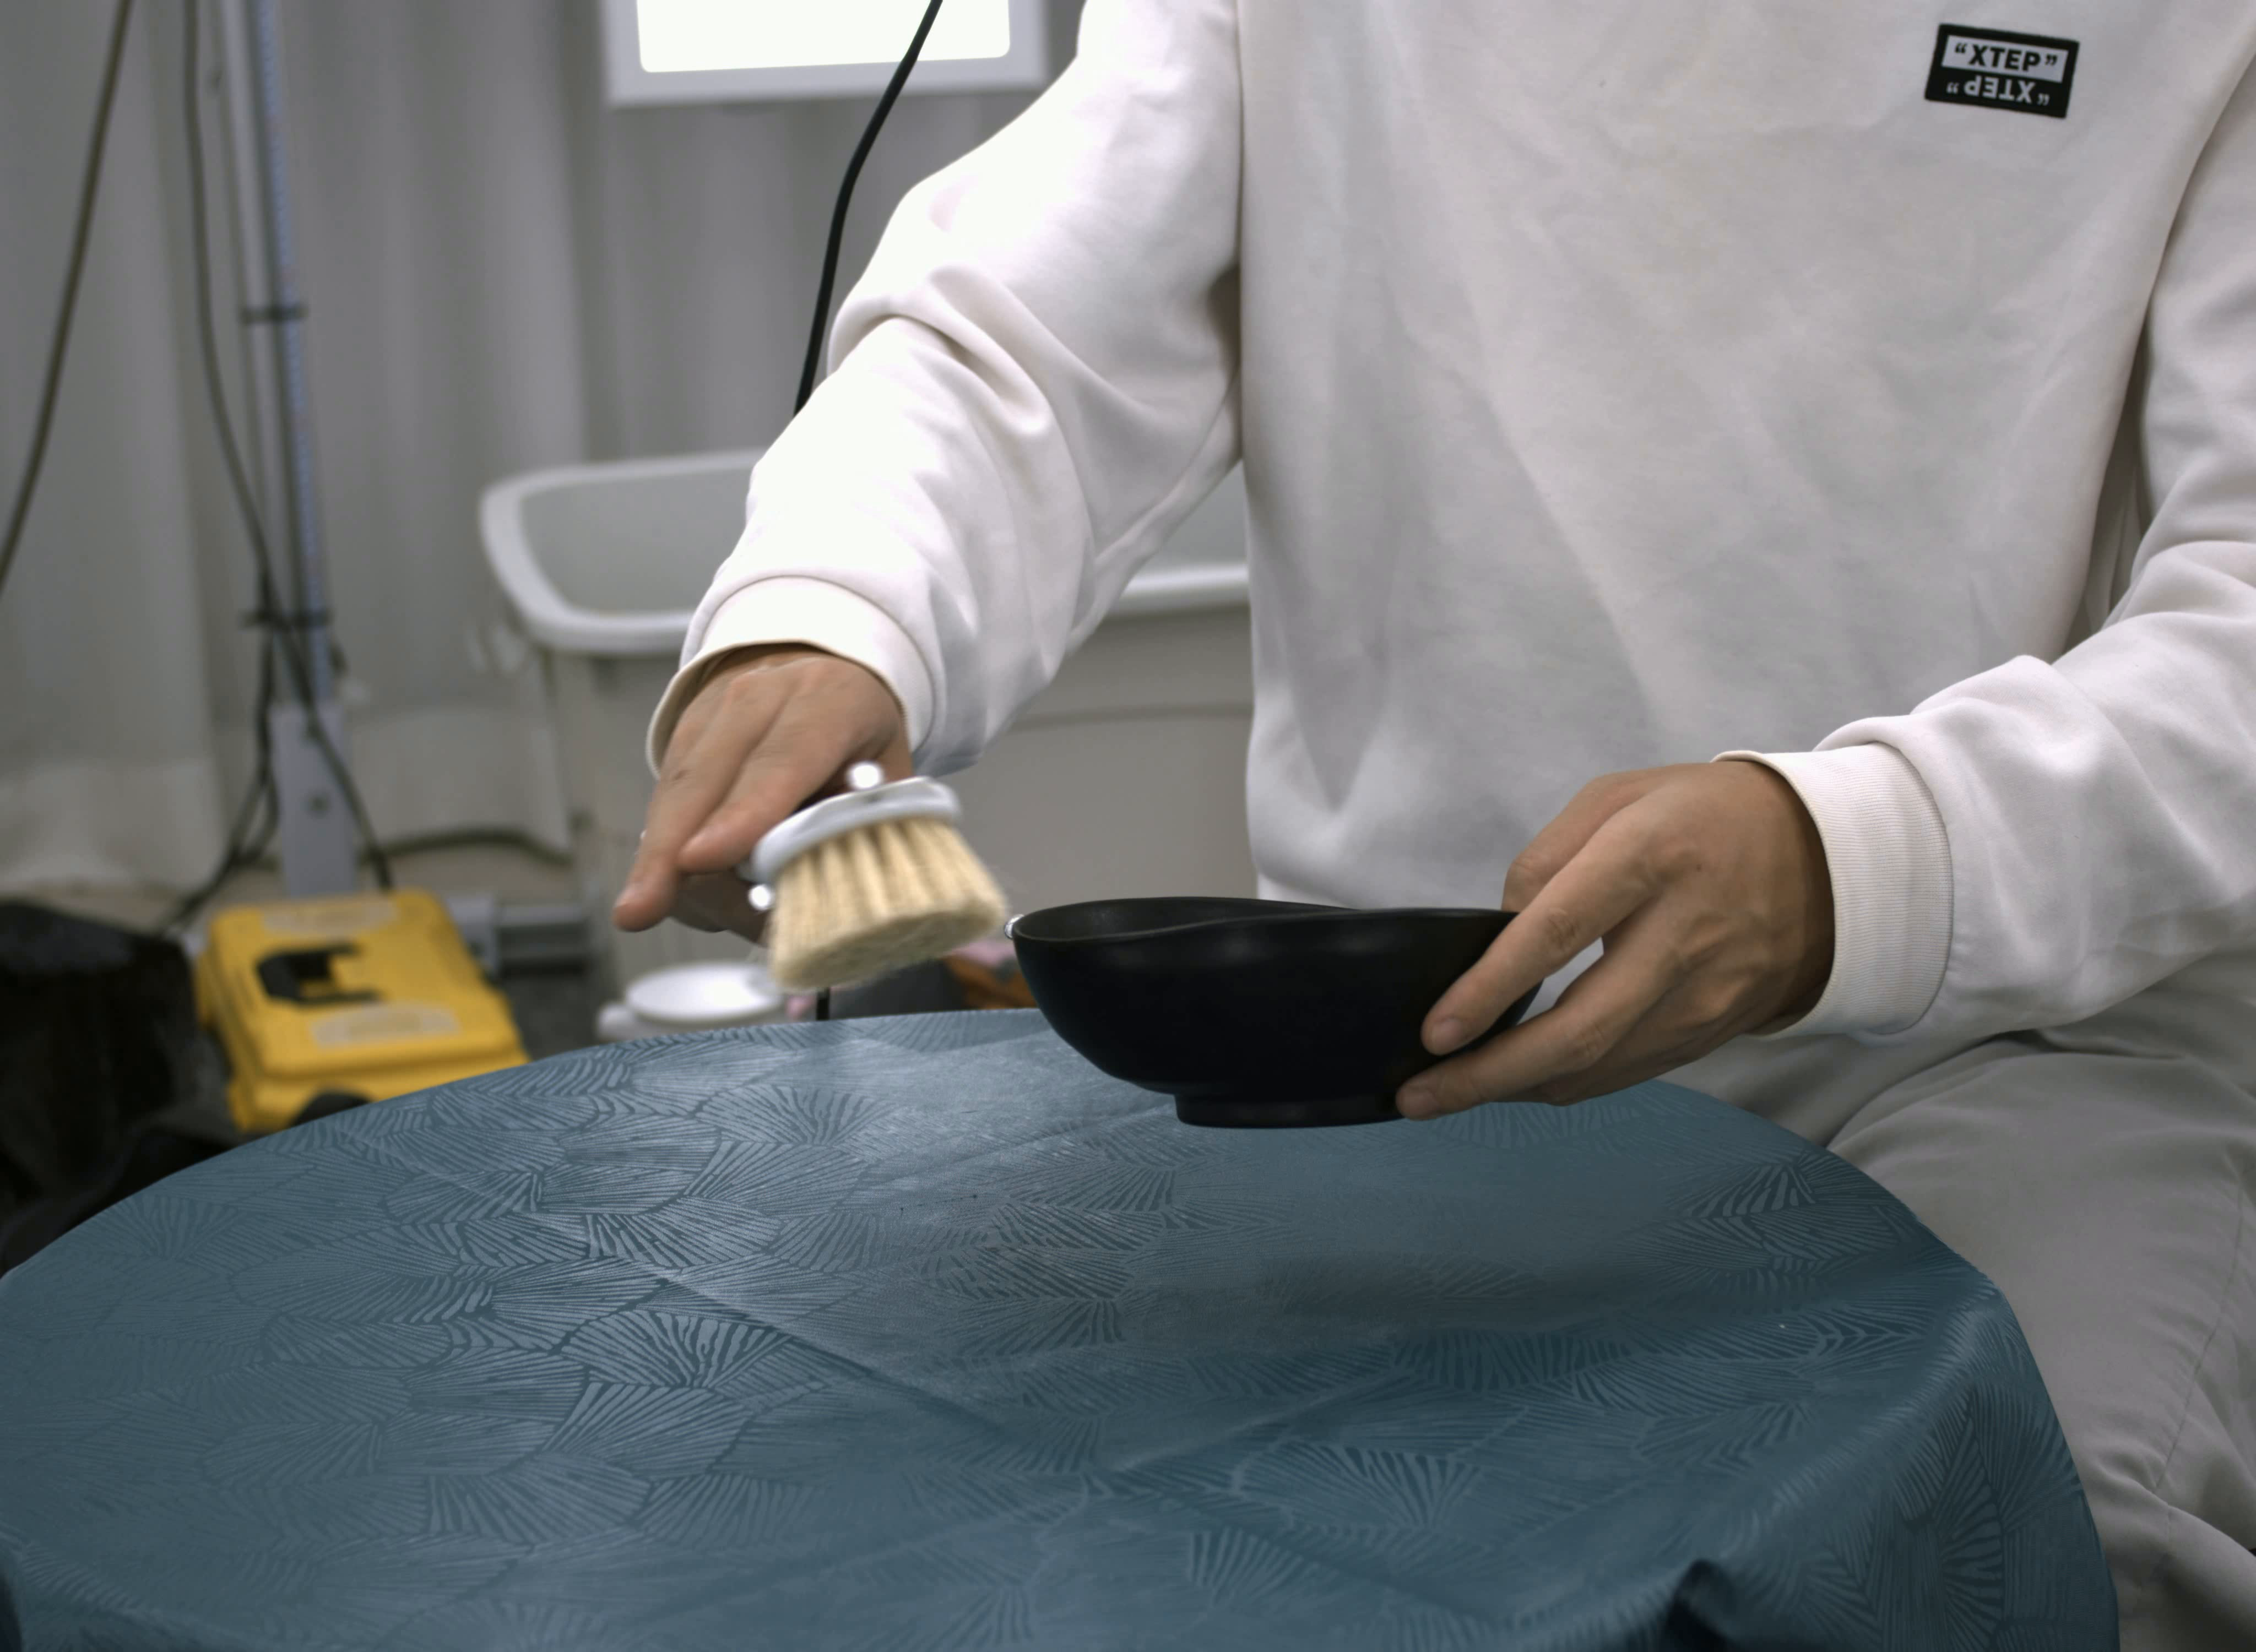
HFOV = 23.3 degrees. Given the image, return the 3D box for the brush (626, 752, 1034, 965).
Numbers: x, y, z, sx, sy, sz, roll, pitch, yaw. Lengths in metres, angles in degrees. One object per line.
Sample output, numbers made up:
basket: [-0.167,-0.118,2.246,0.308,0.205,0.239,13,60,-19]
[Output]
brush: [-0.098,0.016,1.635,0.068,0.056,0.266,-5,-2,-22]

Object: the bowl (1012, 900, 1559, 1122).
bowl: [0.046,0.054,1.598,0.169,0.067,0.138,1,0,-33]
